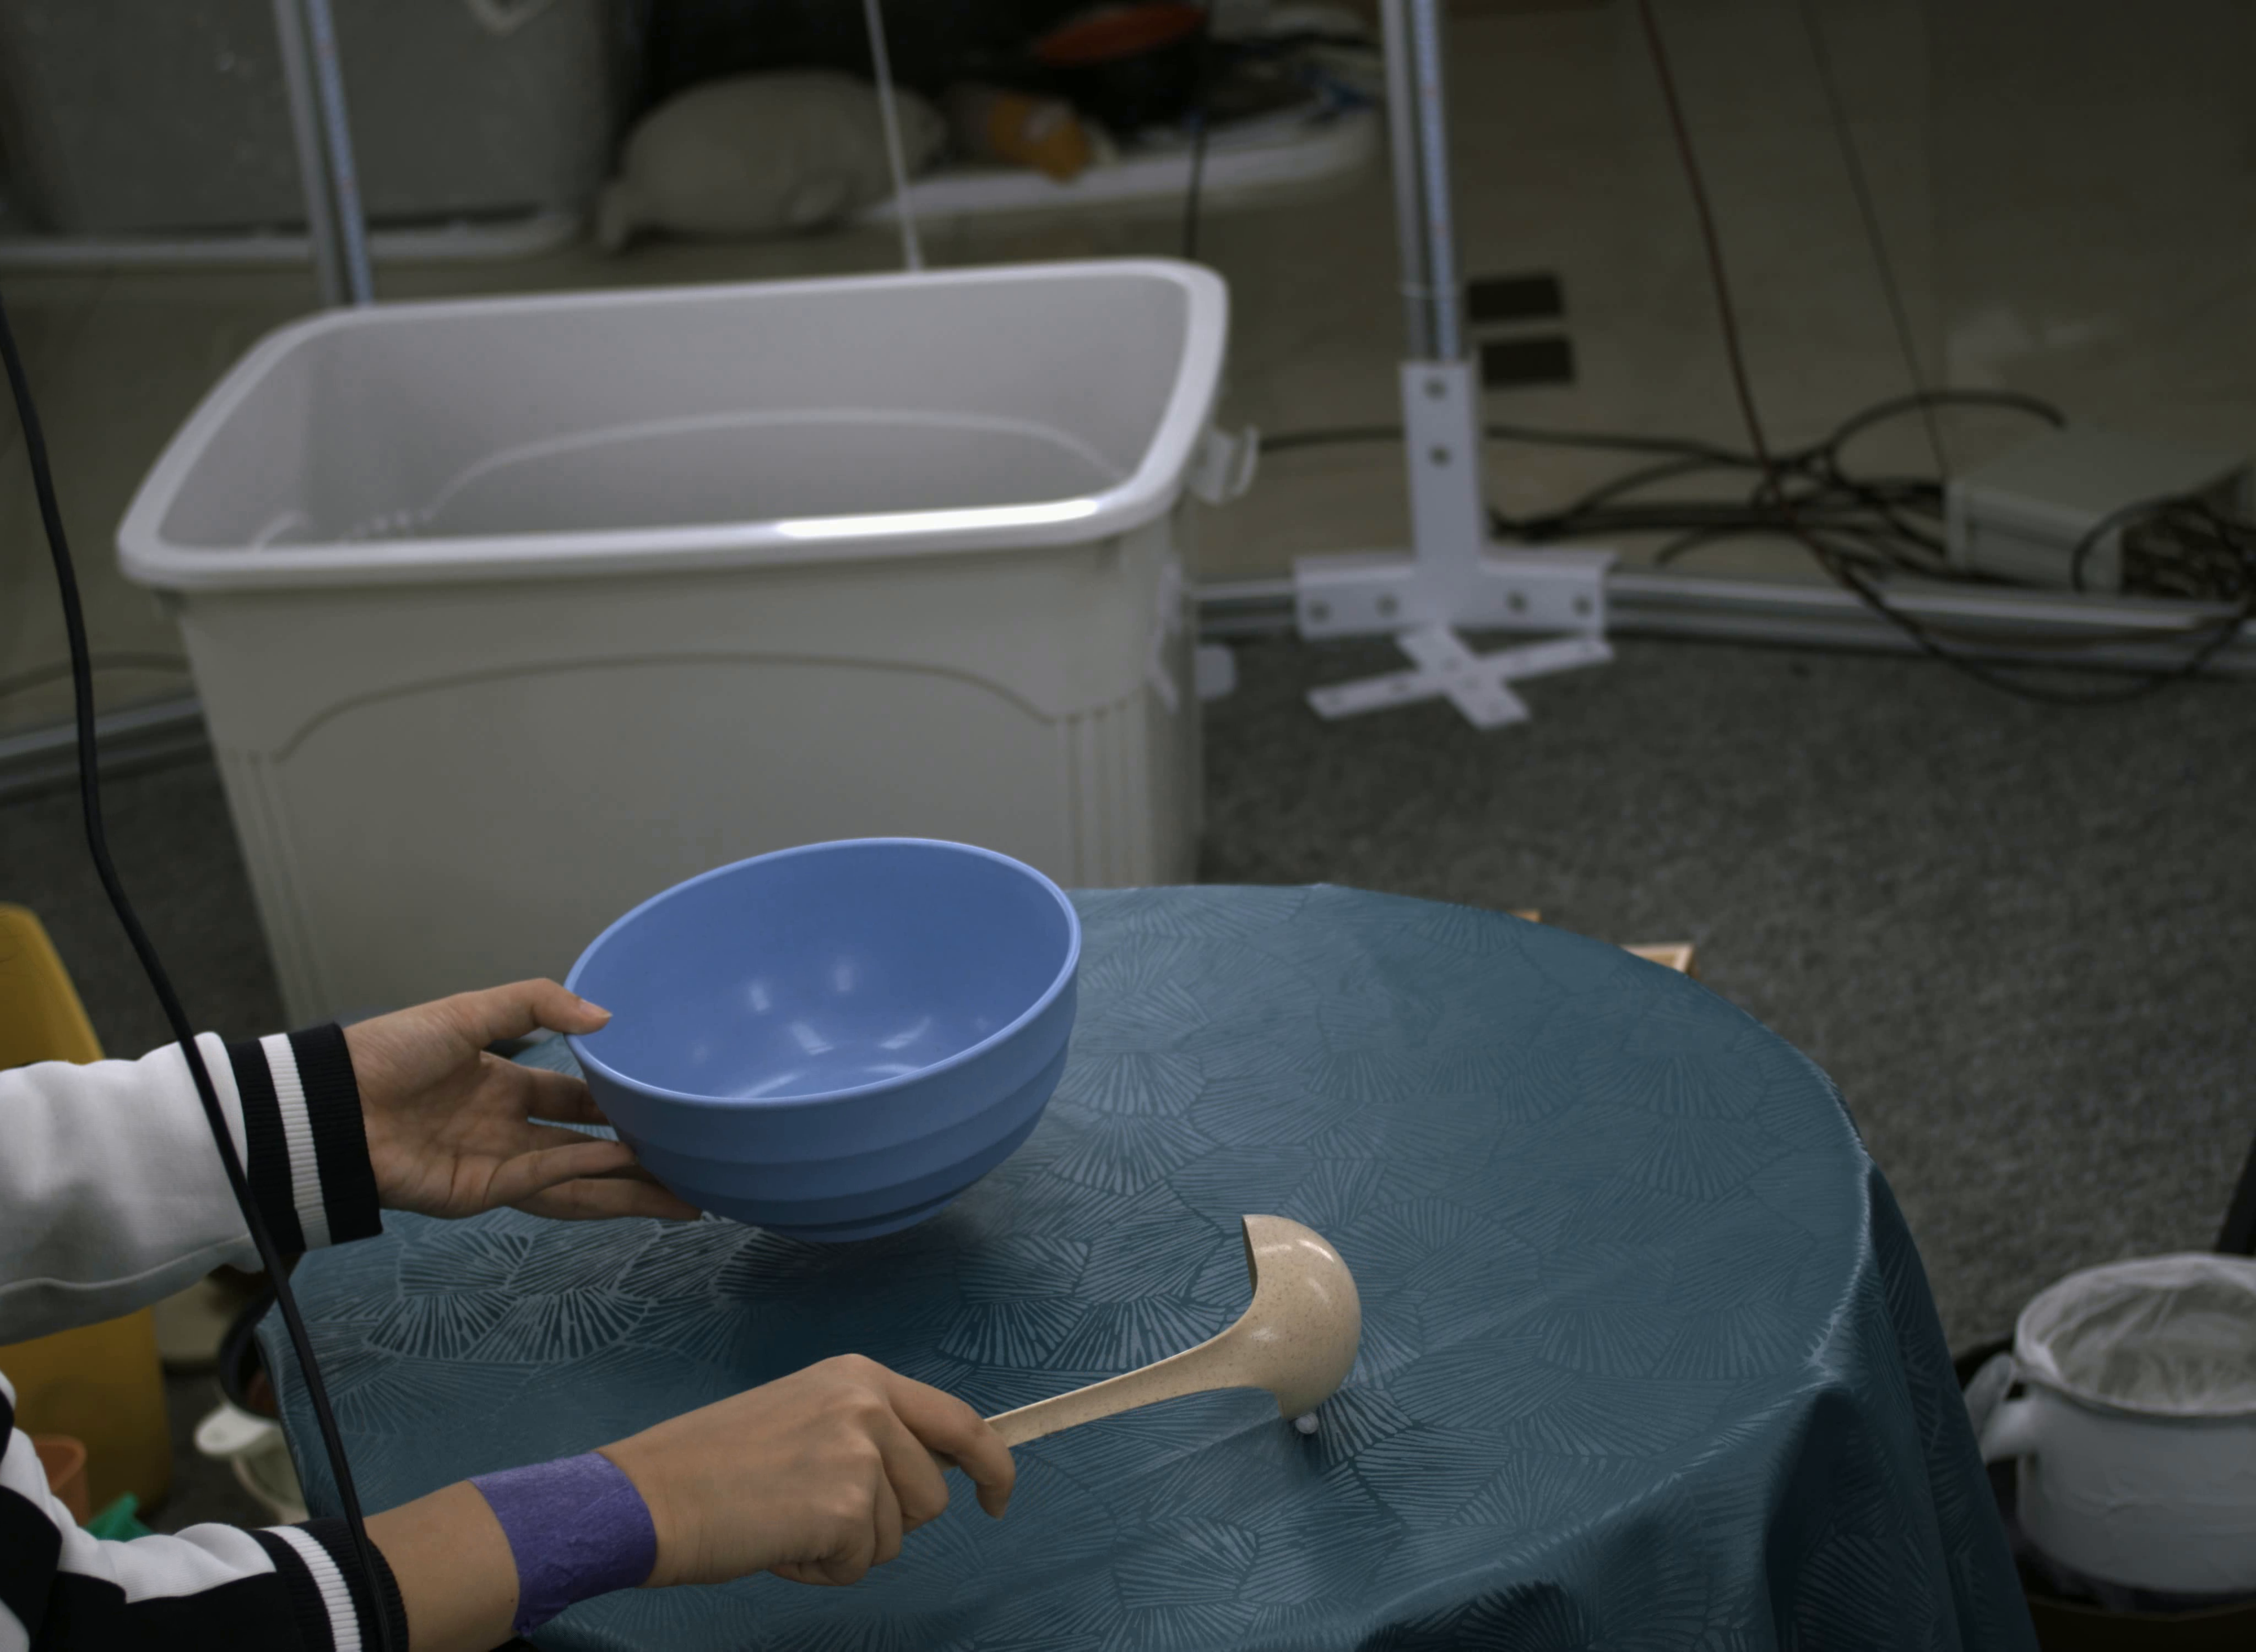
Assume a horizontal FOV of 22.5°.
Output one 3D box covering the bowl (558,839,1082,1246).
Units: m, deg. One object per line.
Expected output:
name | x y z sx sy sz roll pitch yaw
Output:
bowl | -0.109 0.093 2.126 0.196 0.097 0.193 -6 29 3

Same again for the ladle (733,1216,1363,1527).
ladle | -0.036 0.193 1.926 0.253 0.072 0.072 -14 8 -27
